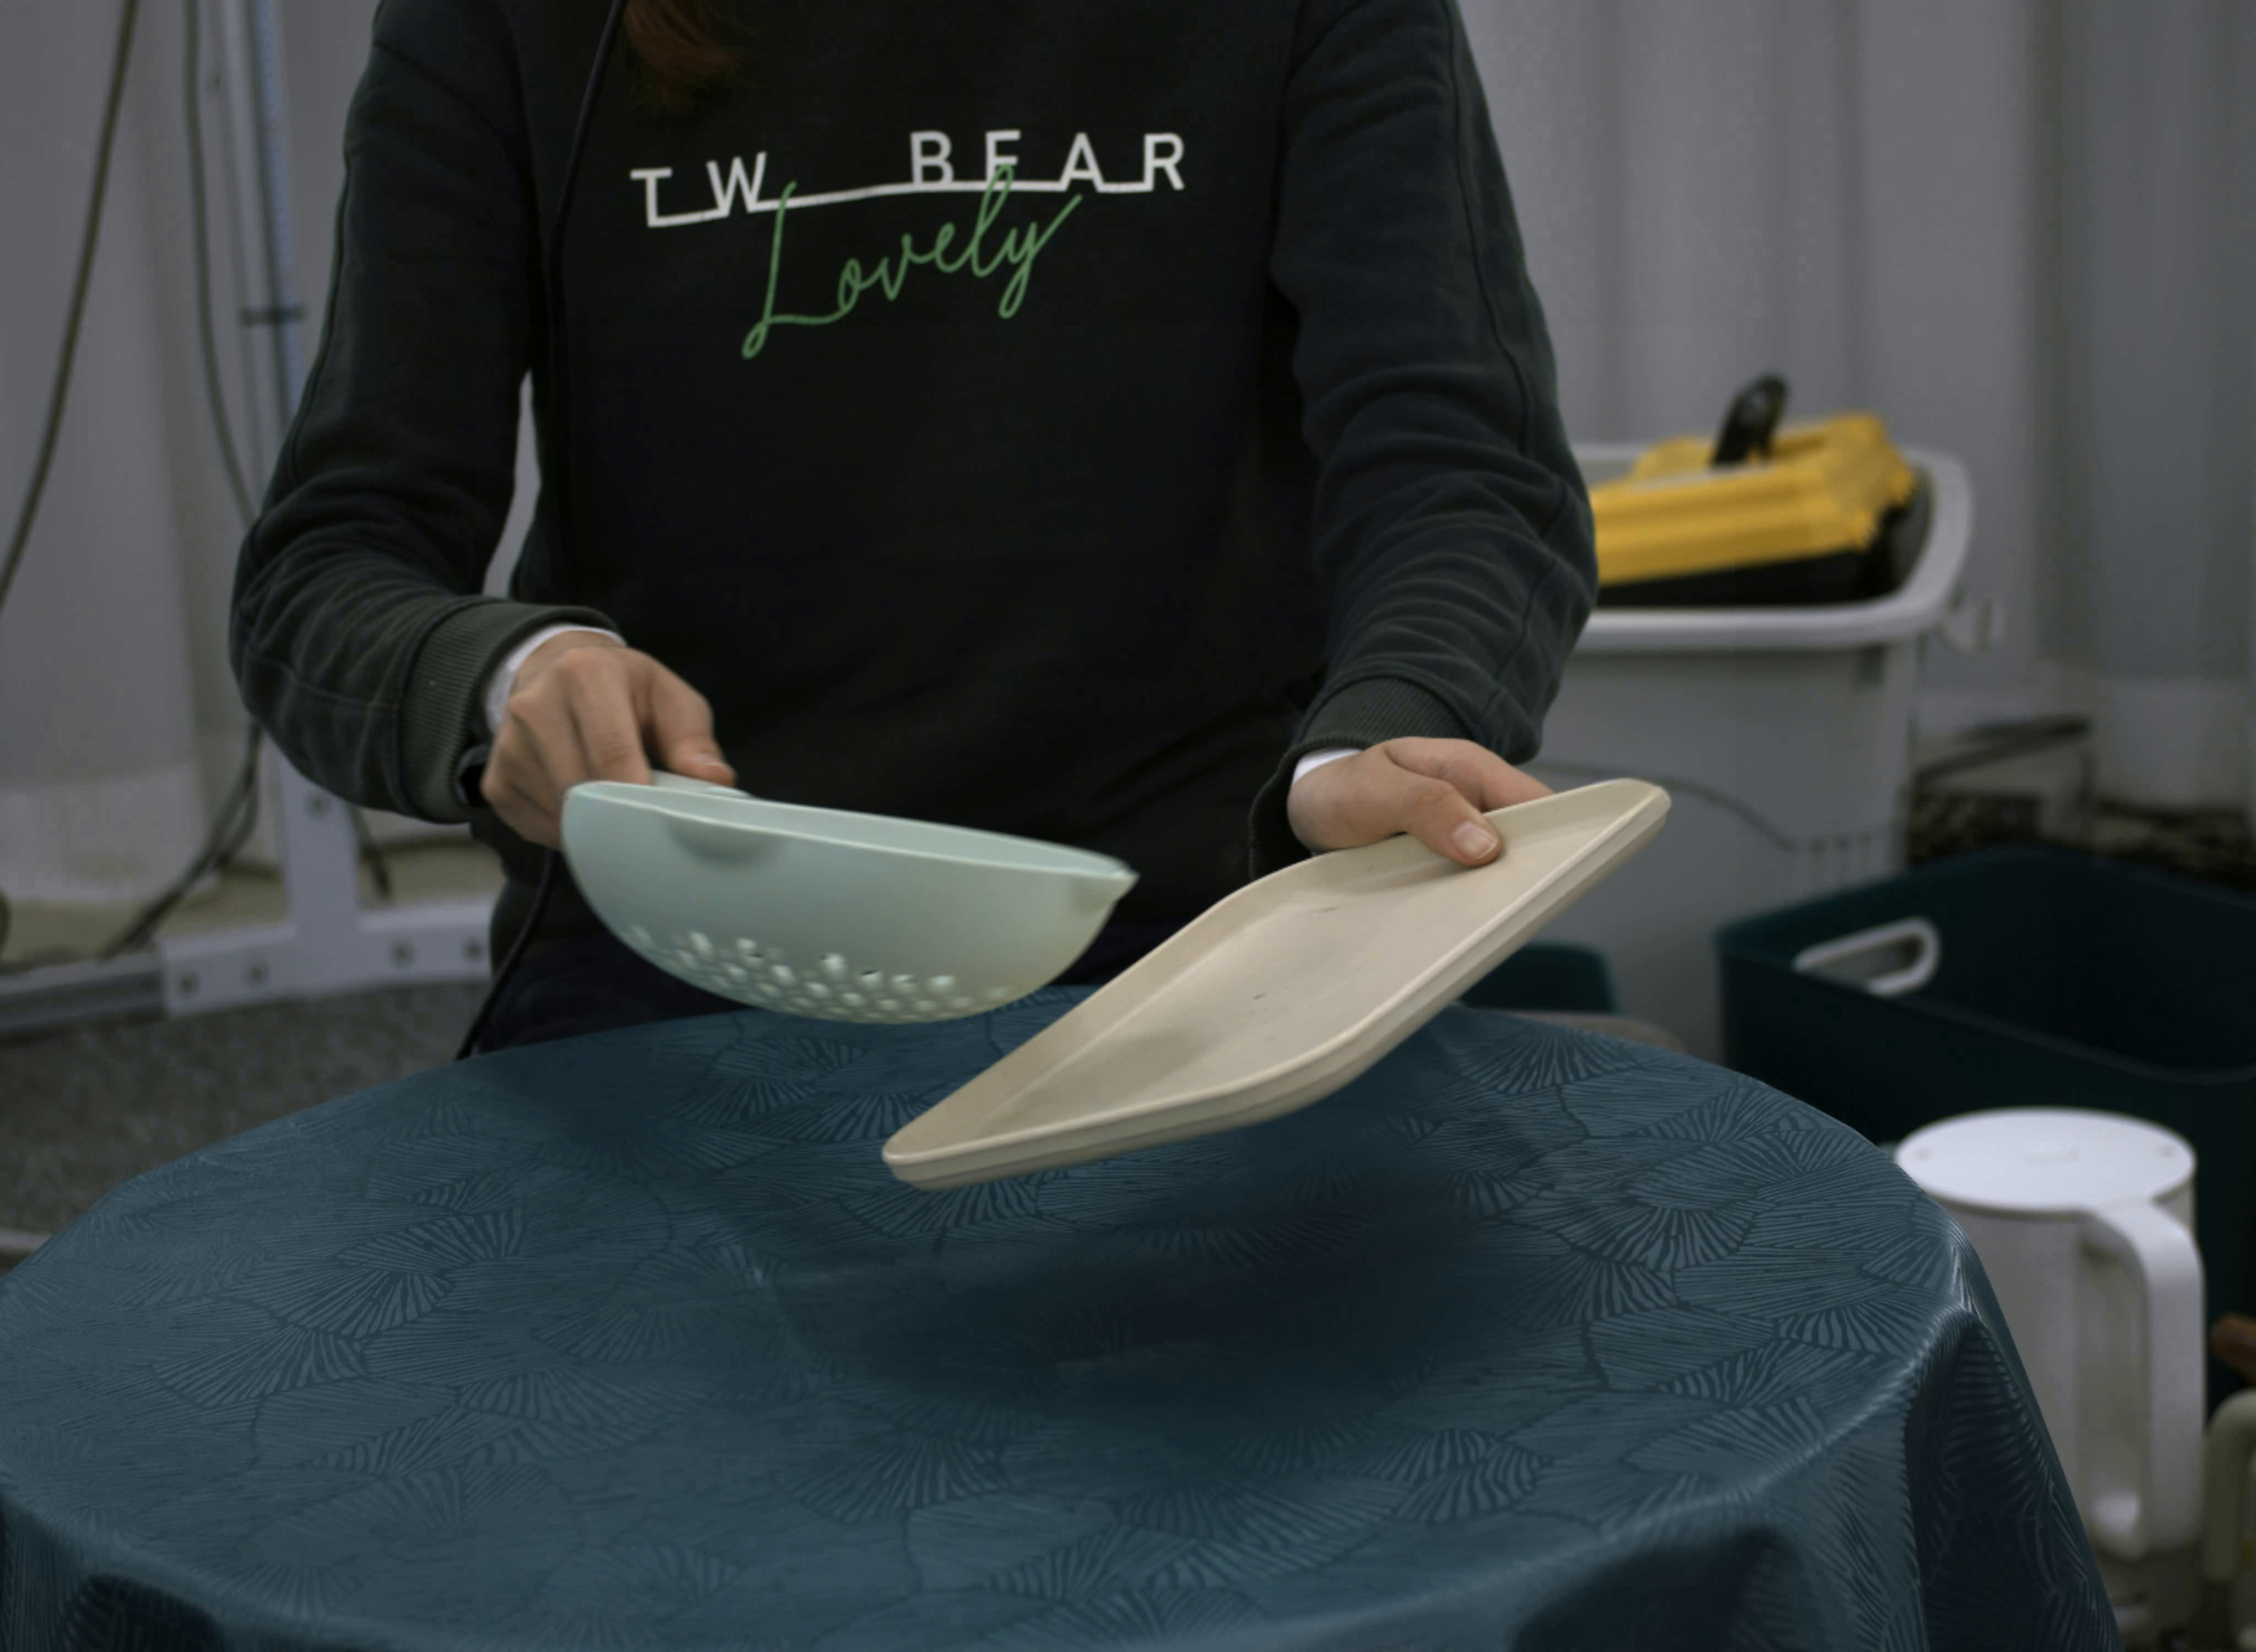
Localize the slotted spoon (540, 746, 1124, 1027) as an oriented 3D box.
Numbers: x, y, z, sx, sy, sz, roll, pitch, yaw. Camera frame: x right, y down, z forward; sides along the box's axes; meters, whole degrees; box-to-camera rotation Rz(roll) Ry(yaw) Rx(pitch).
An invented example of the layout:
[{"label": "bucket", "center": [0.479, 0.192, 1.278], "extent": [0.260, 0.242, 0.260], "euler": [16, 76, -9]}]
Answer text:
[{"label": "slotted spoon", "center": [-0.126, 0.002, 1.692], "extent": [0.168, 0.075, 0.362], "euler": [11, 9, -22]}]

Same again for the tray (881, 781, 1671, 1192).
[{"label": "tray", "center": [0.047, 0.047, 1.592], "extent": [0.171, 0.017, 0.240], "euler": [-16, 11, 38]}]
